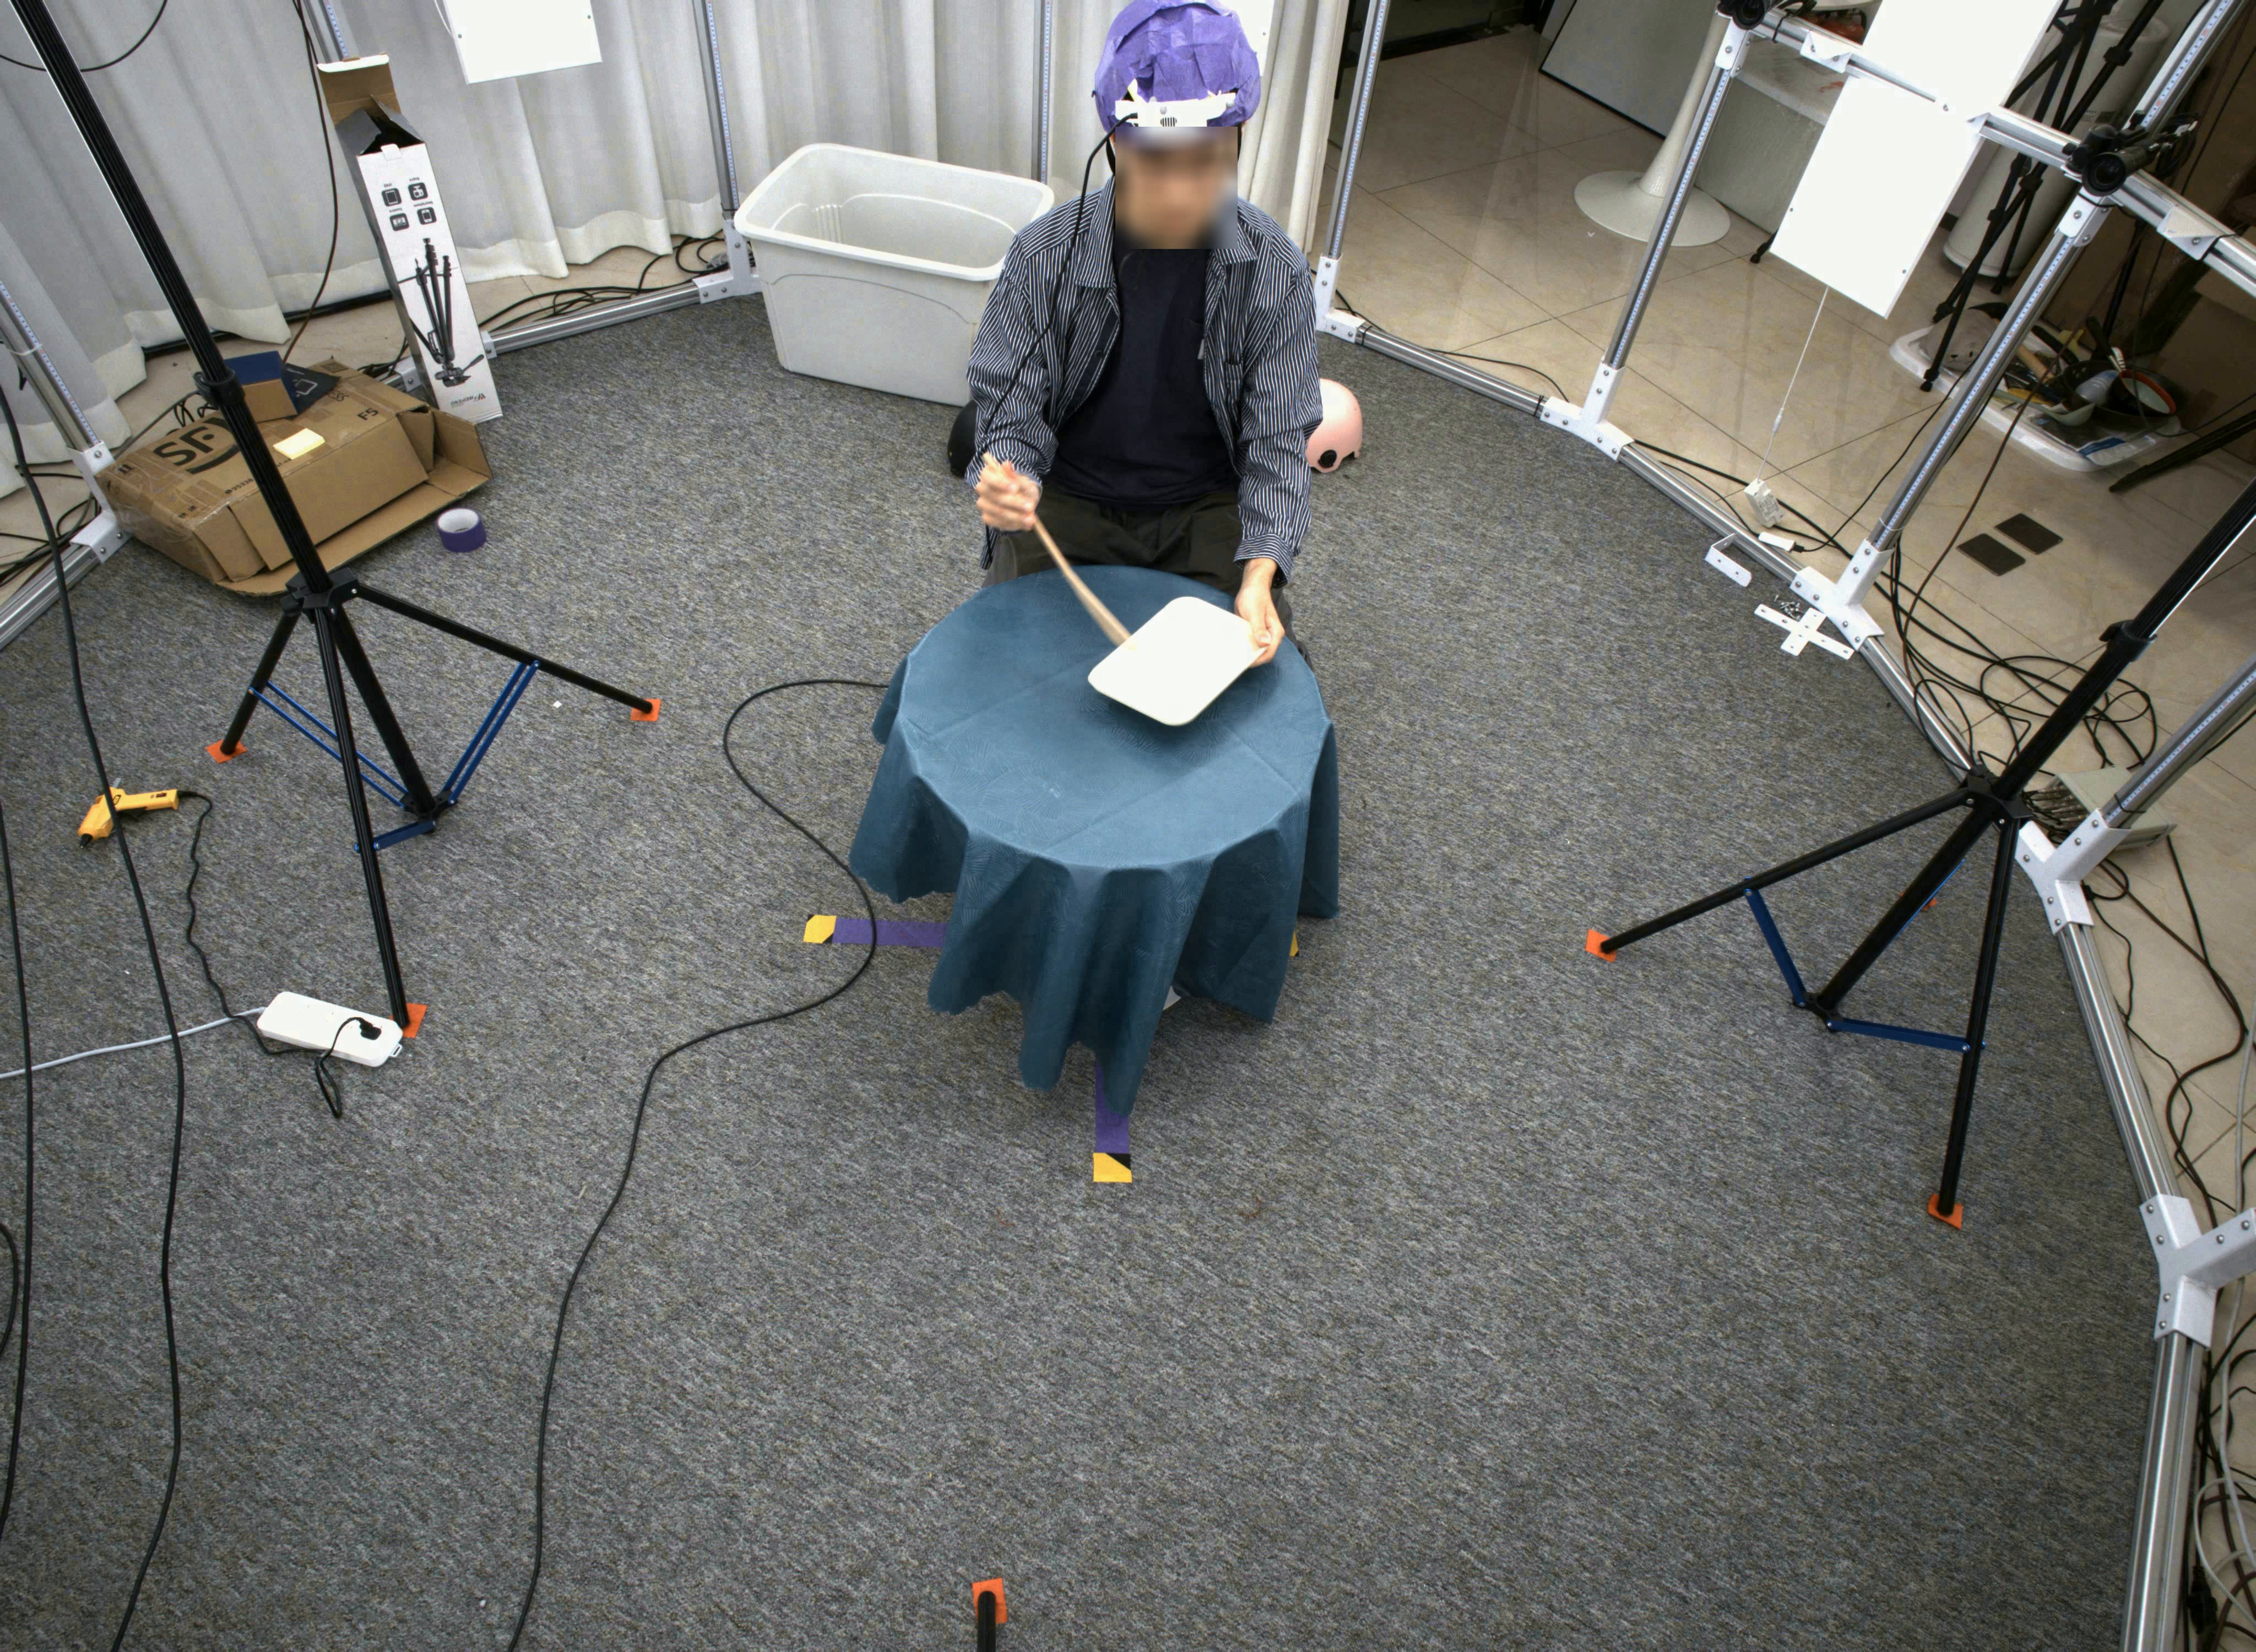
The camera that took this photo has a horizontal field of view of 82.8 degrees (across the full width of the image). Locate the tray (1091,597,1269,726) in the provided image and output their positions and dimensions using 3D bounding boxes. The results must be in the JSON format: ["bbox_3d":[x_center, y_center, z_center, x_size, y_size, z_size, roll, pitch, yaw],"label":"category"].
[{"bbox_3d":[0.075,-0.232,1.799,0.173,0.017,0.243,28,53,25],"label":"tray"}]

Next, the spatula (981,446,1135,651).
[{"bbox_3d":[-0.095,-0.362,1.698,0.016,0.080,0.327,-35,93,-11],"label":"spatula"}]
